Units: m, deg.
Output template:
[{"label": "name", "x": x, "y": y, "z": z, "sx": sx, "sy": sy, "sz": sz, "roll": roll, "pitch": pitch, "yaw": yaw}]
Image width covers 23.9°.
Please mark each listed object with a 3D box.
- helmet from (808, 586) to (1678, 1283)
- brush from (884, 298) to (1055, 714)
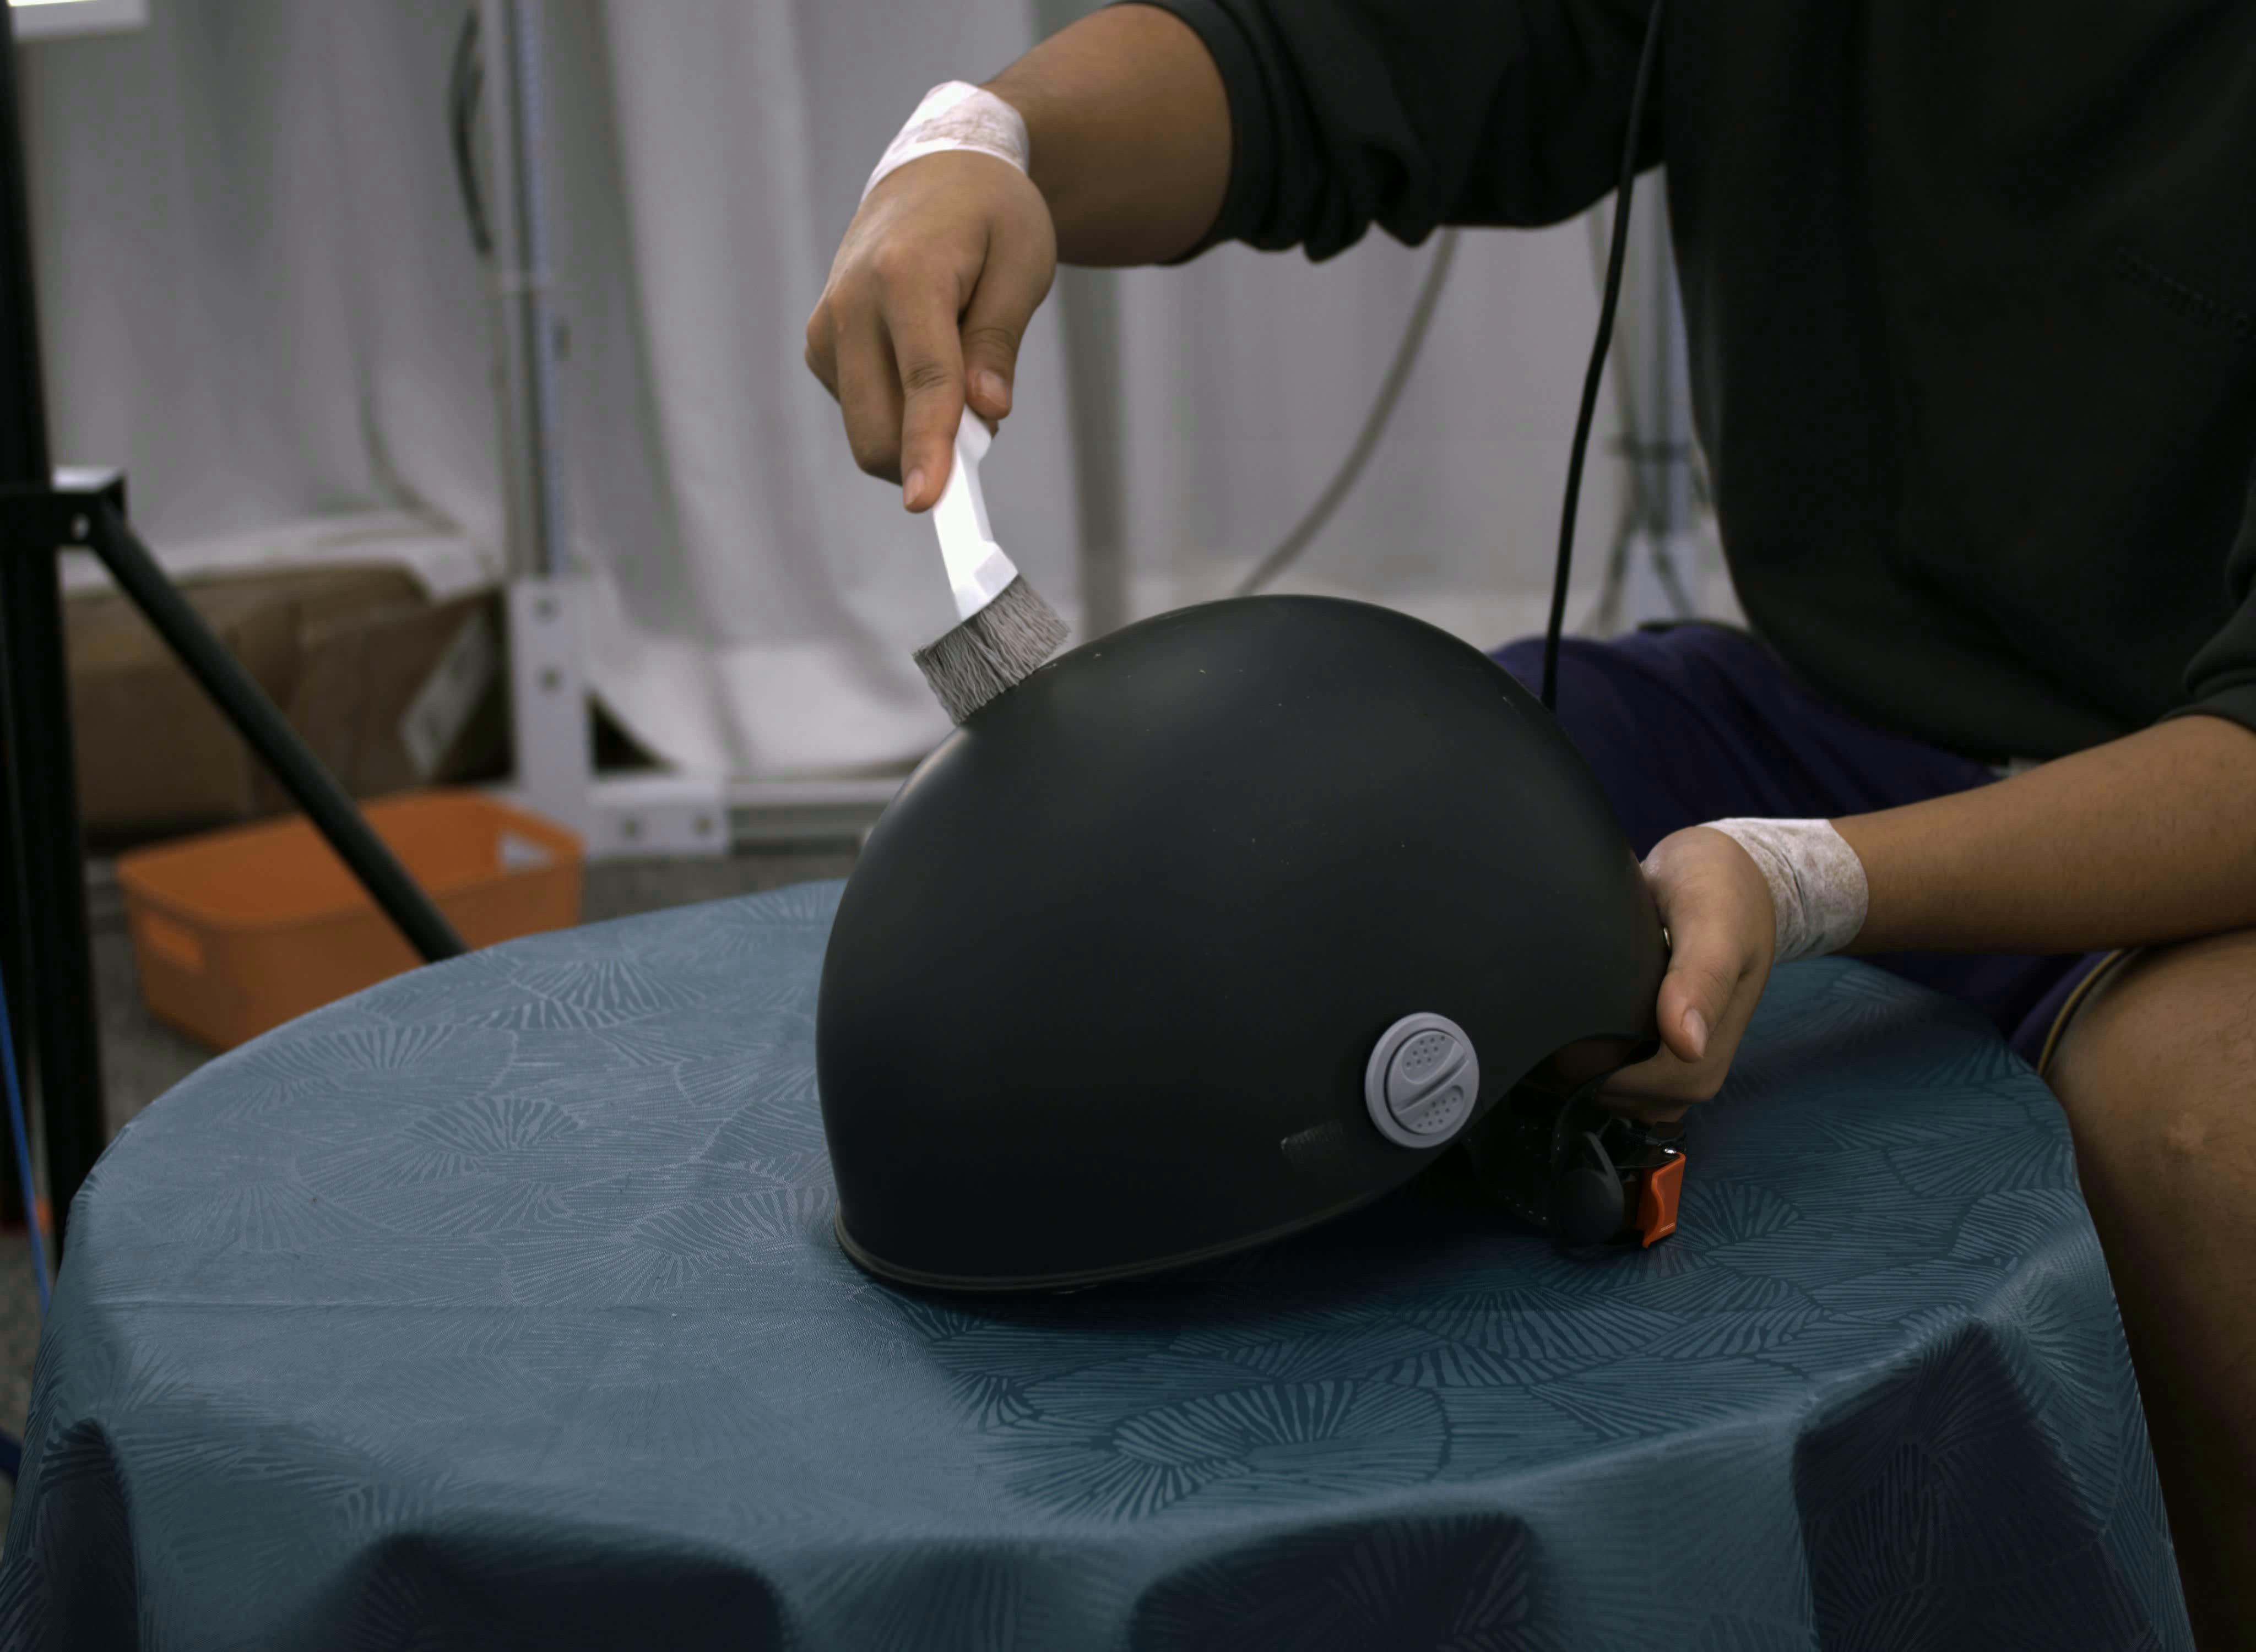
[{"label": "helmet", "x": 0.024, "y": 0.021, "z": 1.547, "sx": 0.267, "sy": 0.166, "sz": 0.235, "roll": -21, "pitch": 15, "yaw": -38}, {"label": "brush", "x": -0.048, "y": -0.100, "z": 1.650, "sx": 0.034, "sy": 0.049, "sz": 0.245, "roll": -34, "pitch": 23, "yaw": 14}]
